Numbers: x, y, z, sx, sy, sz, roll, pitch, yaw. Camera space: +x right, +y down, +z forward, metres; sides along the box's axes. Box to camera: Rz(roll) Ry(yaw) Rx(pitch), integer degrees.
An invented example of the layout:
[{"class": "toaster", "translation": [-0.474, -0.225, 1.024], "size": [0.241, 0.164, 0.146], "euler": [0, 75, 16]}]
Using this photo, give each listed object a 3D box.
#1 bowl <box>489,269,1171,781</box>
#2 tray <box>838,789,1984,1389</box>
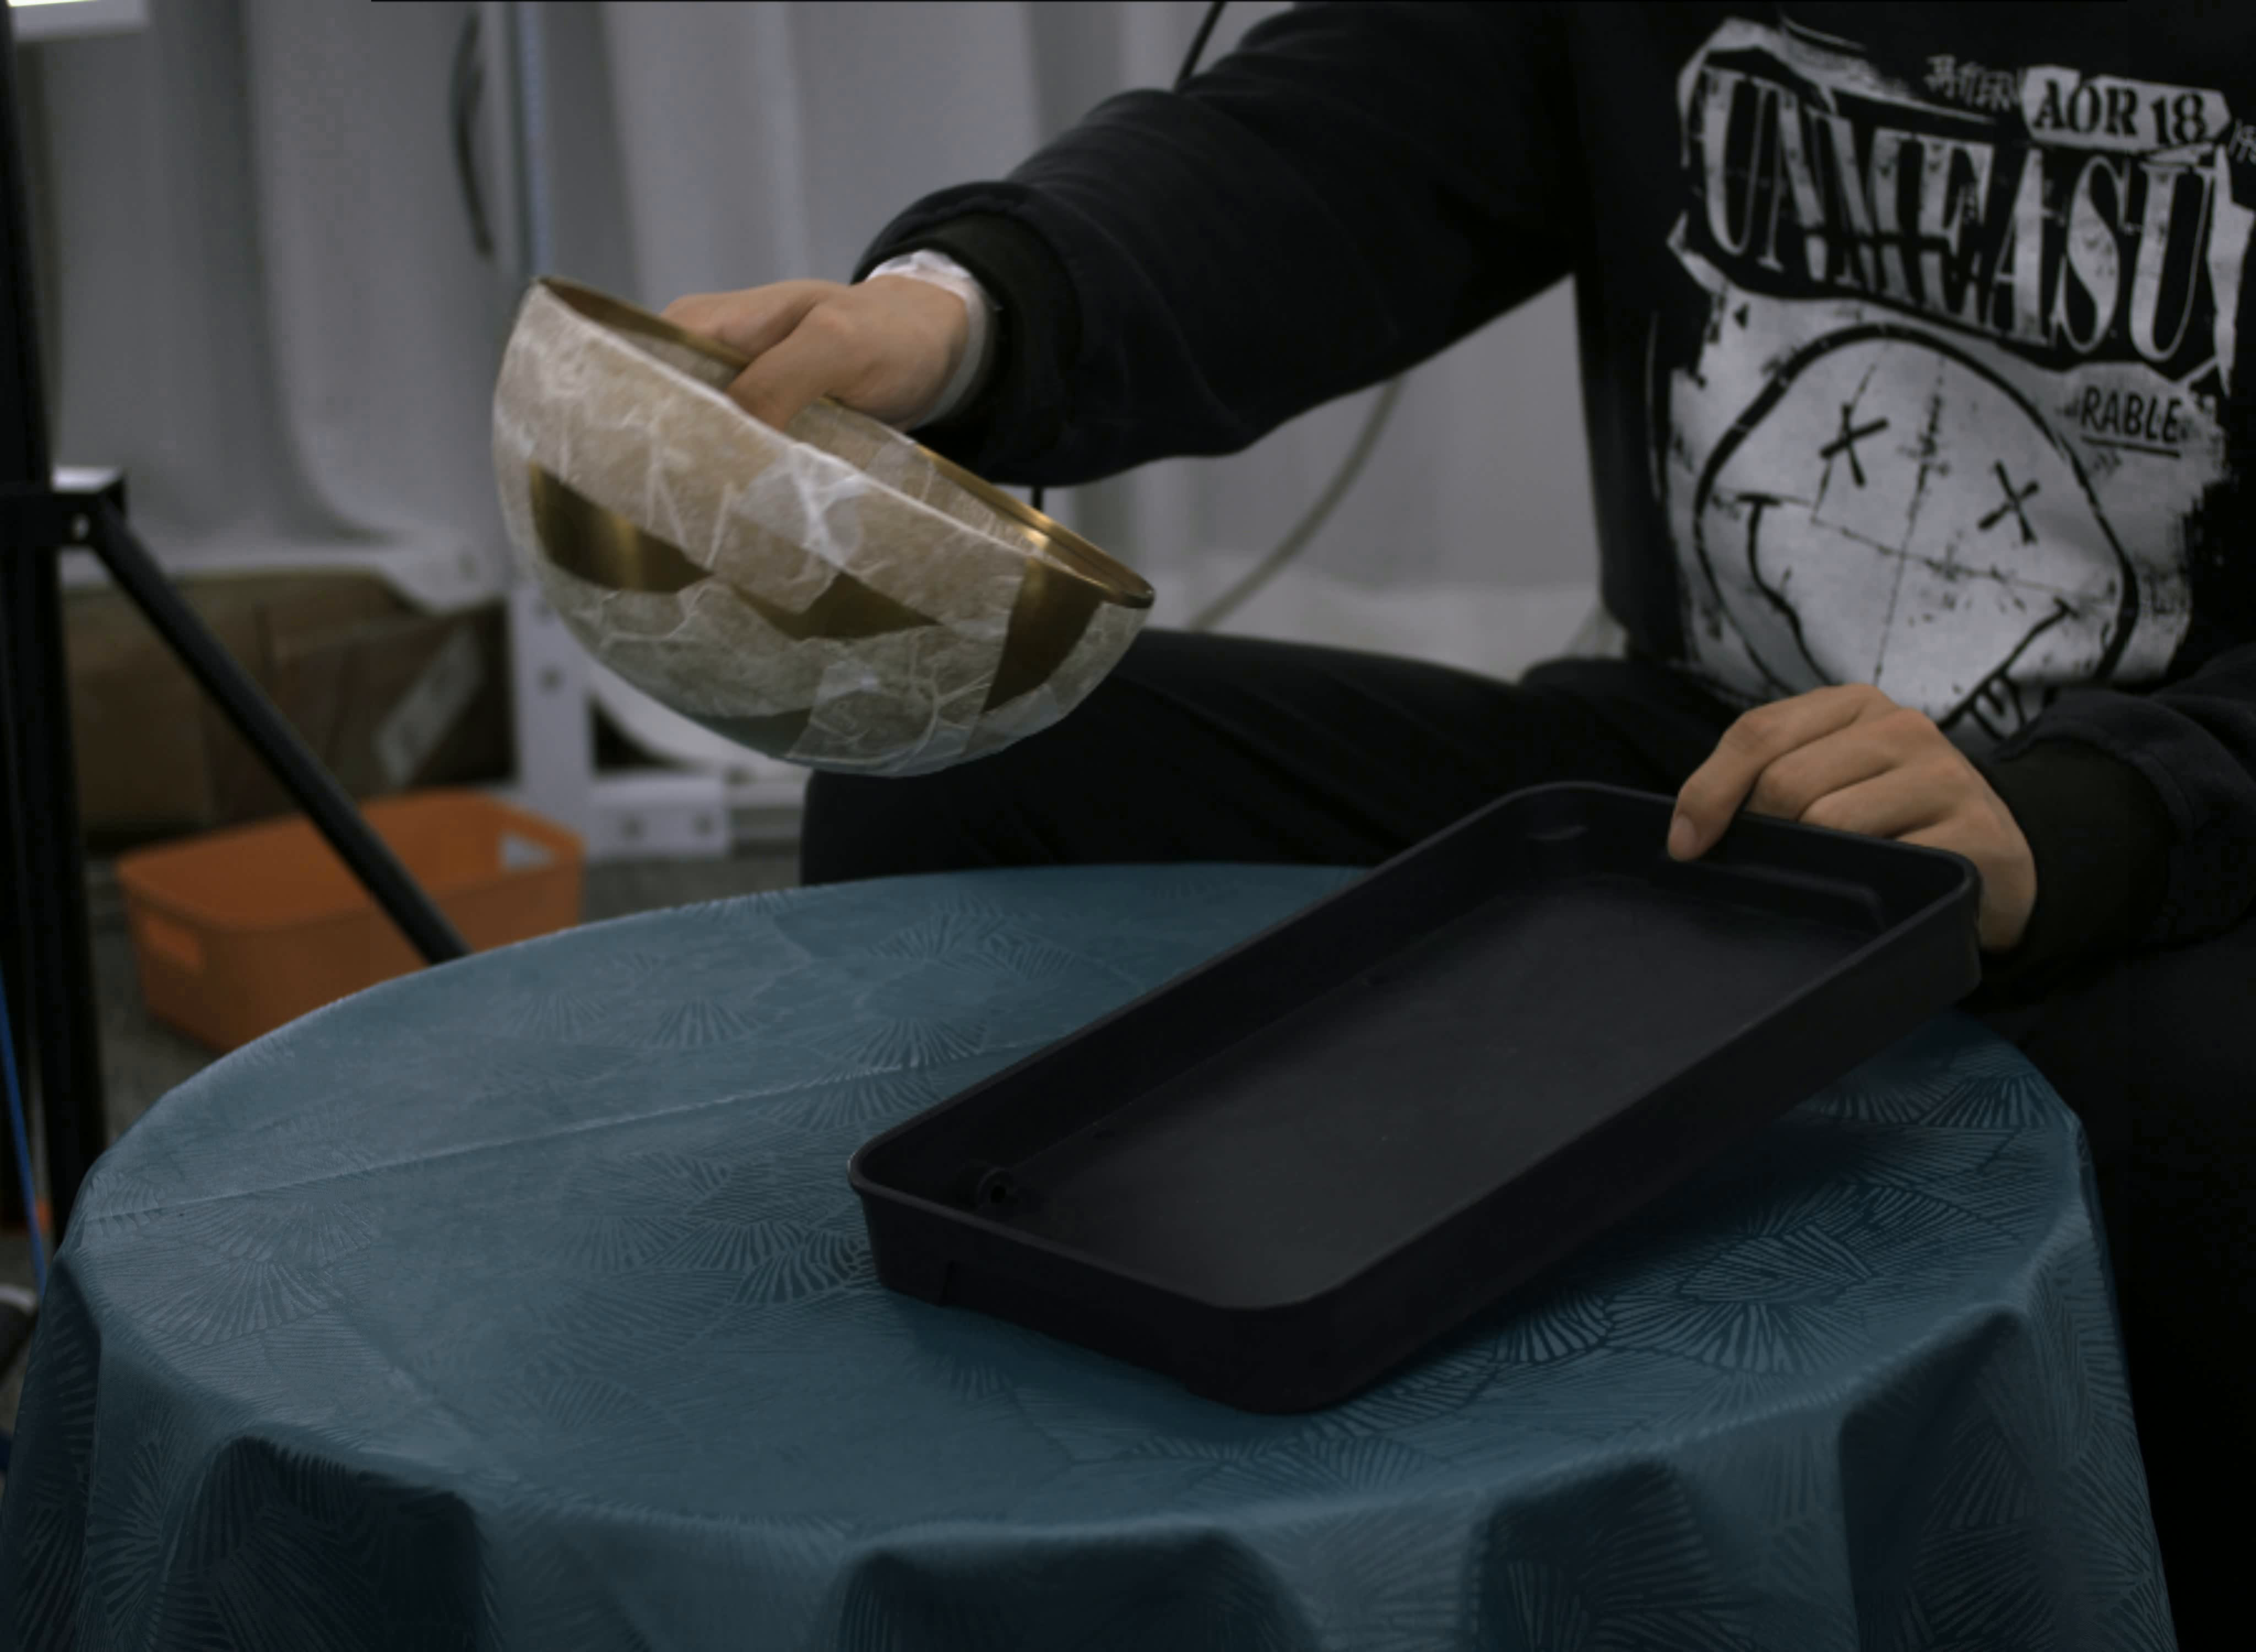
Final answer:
[{"class": "bowl", "translation": [-0.097, -0.070, 1.524], "size": [0.213, 0.095, 0.215], "euler": [25, 6, -5]}, {"class": "tray", "translation": [0.087, 0.068, 1.522], "size": [0.312, 0.037, 0.188], "euler": [-25, 24, -36]}]
